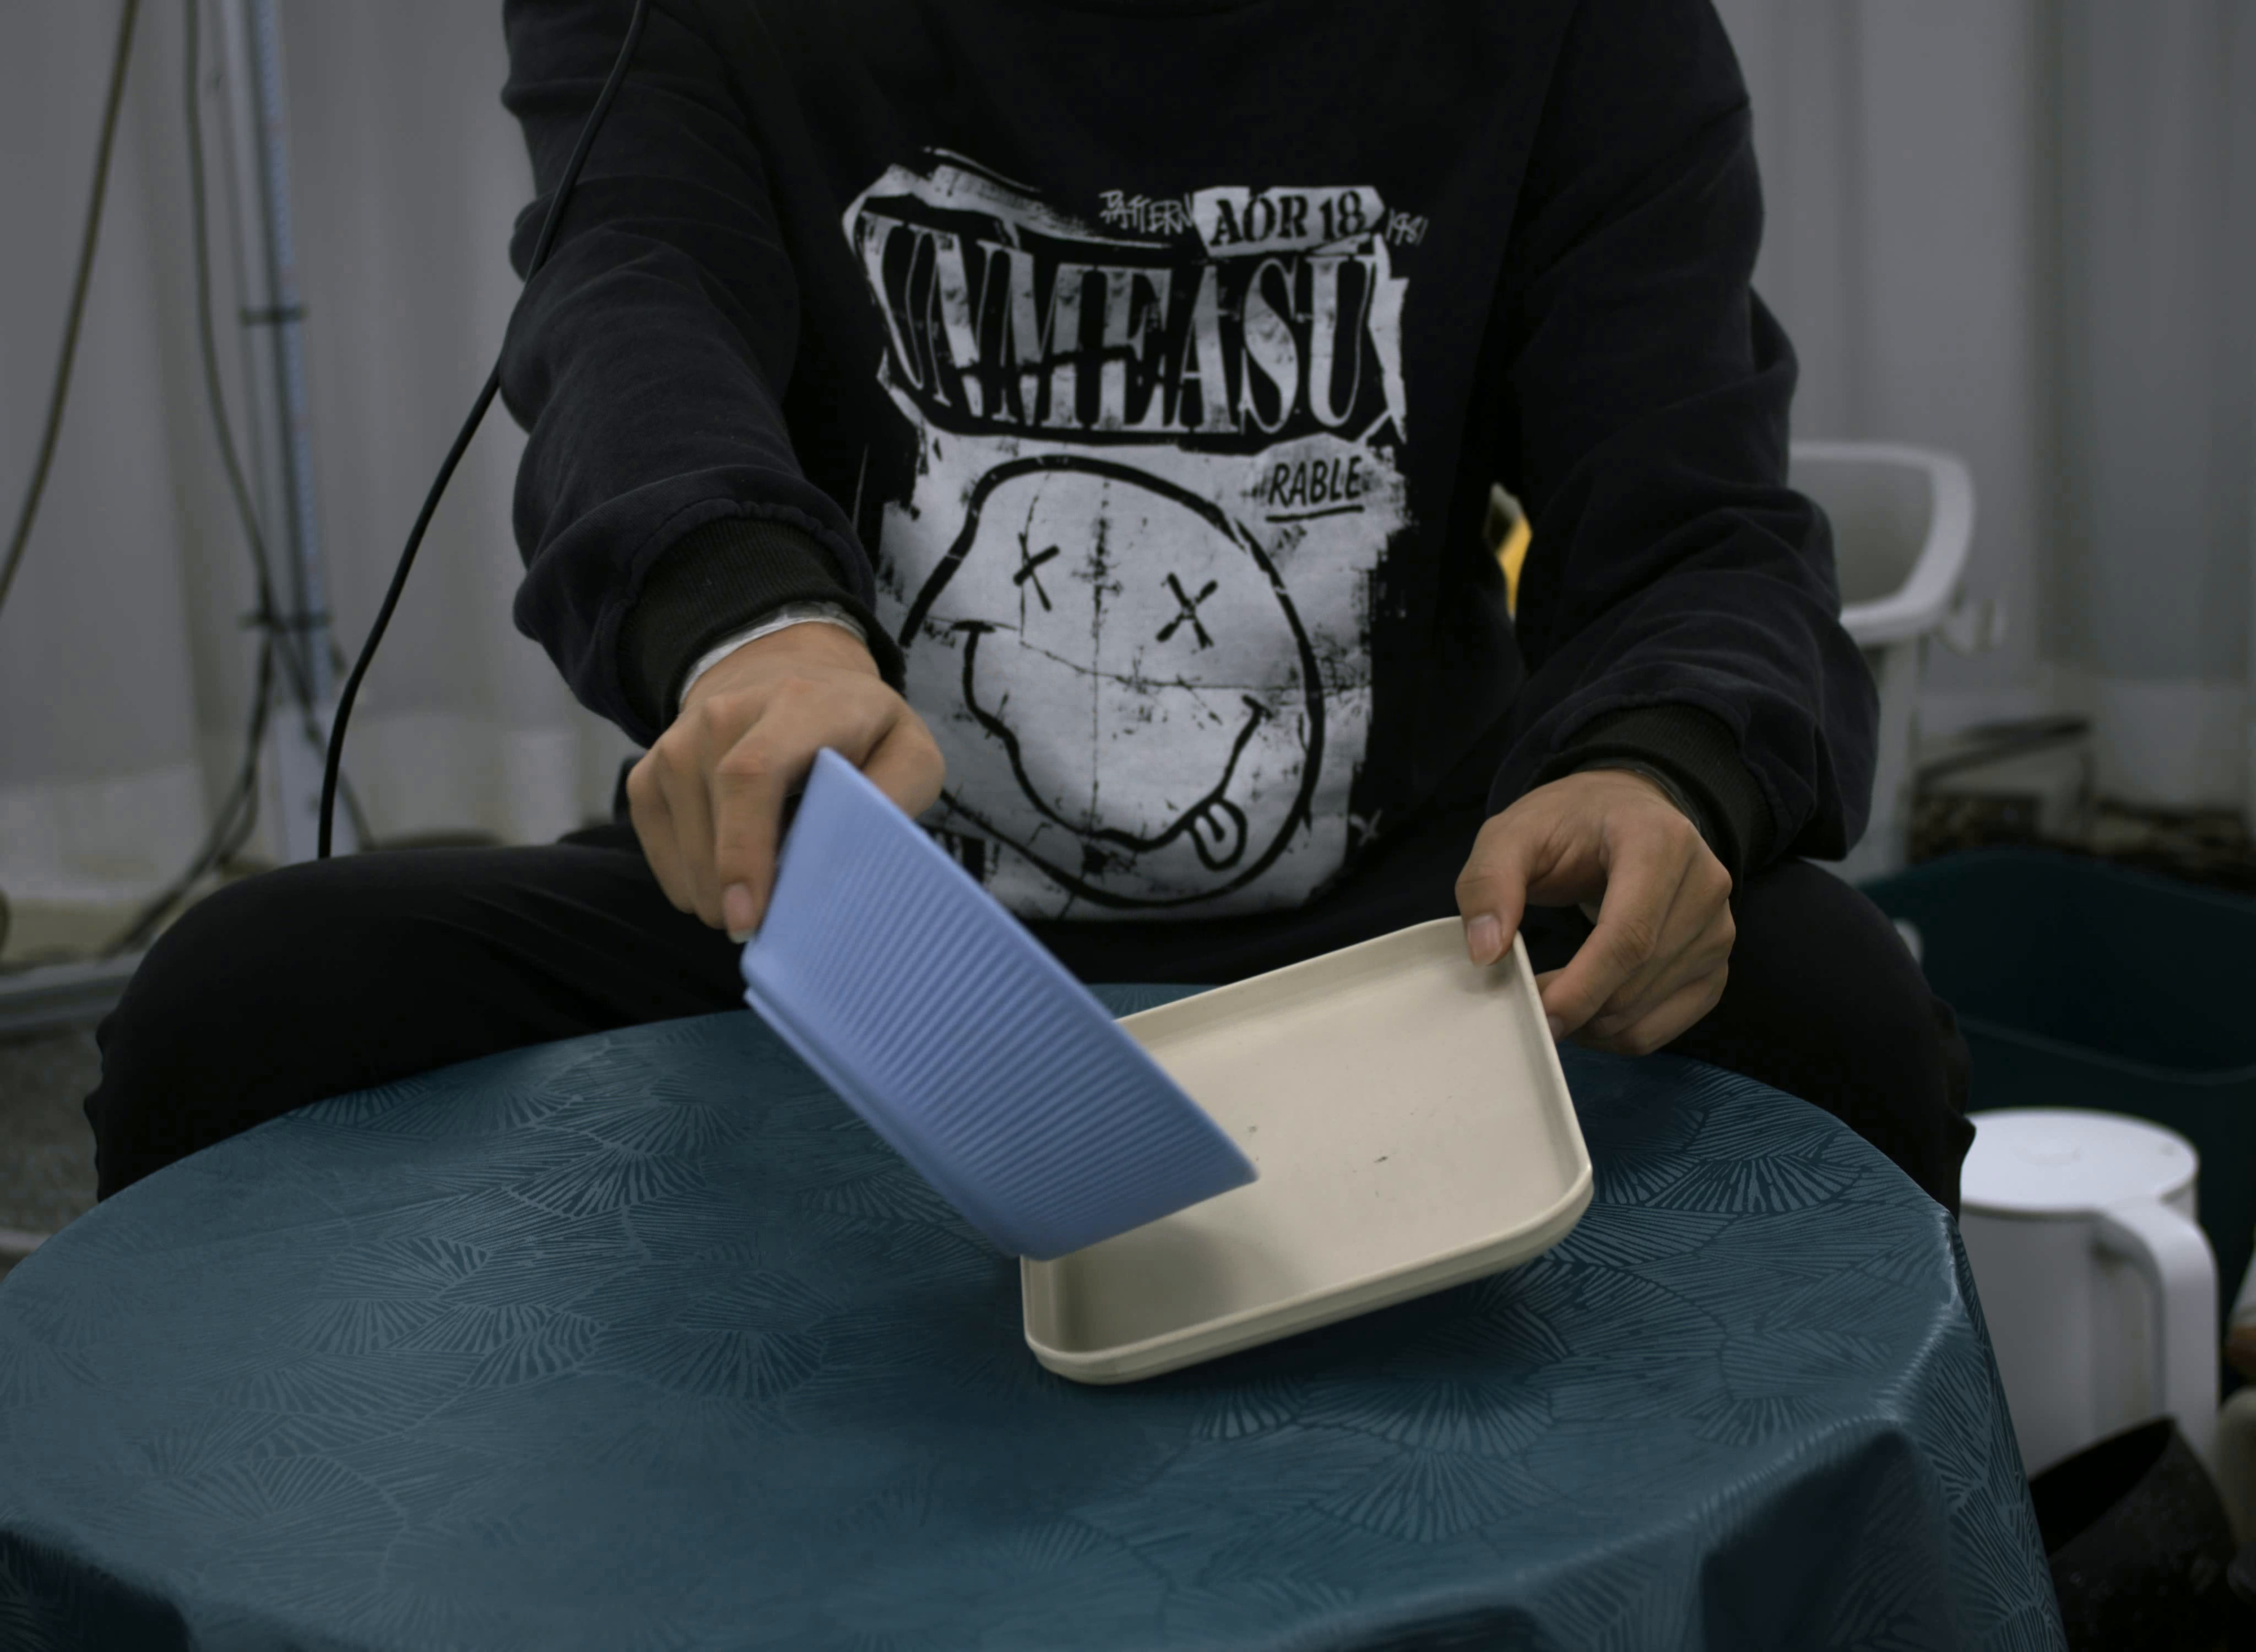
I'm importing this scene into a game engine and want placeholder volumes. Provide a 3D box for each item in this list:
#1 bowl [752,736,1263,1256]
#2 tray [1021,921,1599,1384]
[{"bbox_3d":[-0.045,0.059,1.561,0.070,0.174,0.177,-45,22,-4],"label":"bowl"},{"bbox_3d":[0.049,0.097,1.641,0.171,0.017,0.242,-16,20,3],"label":"tray"}]
